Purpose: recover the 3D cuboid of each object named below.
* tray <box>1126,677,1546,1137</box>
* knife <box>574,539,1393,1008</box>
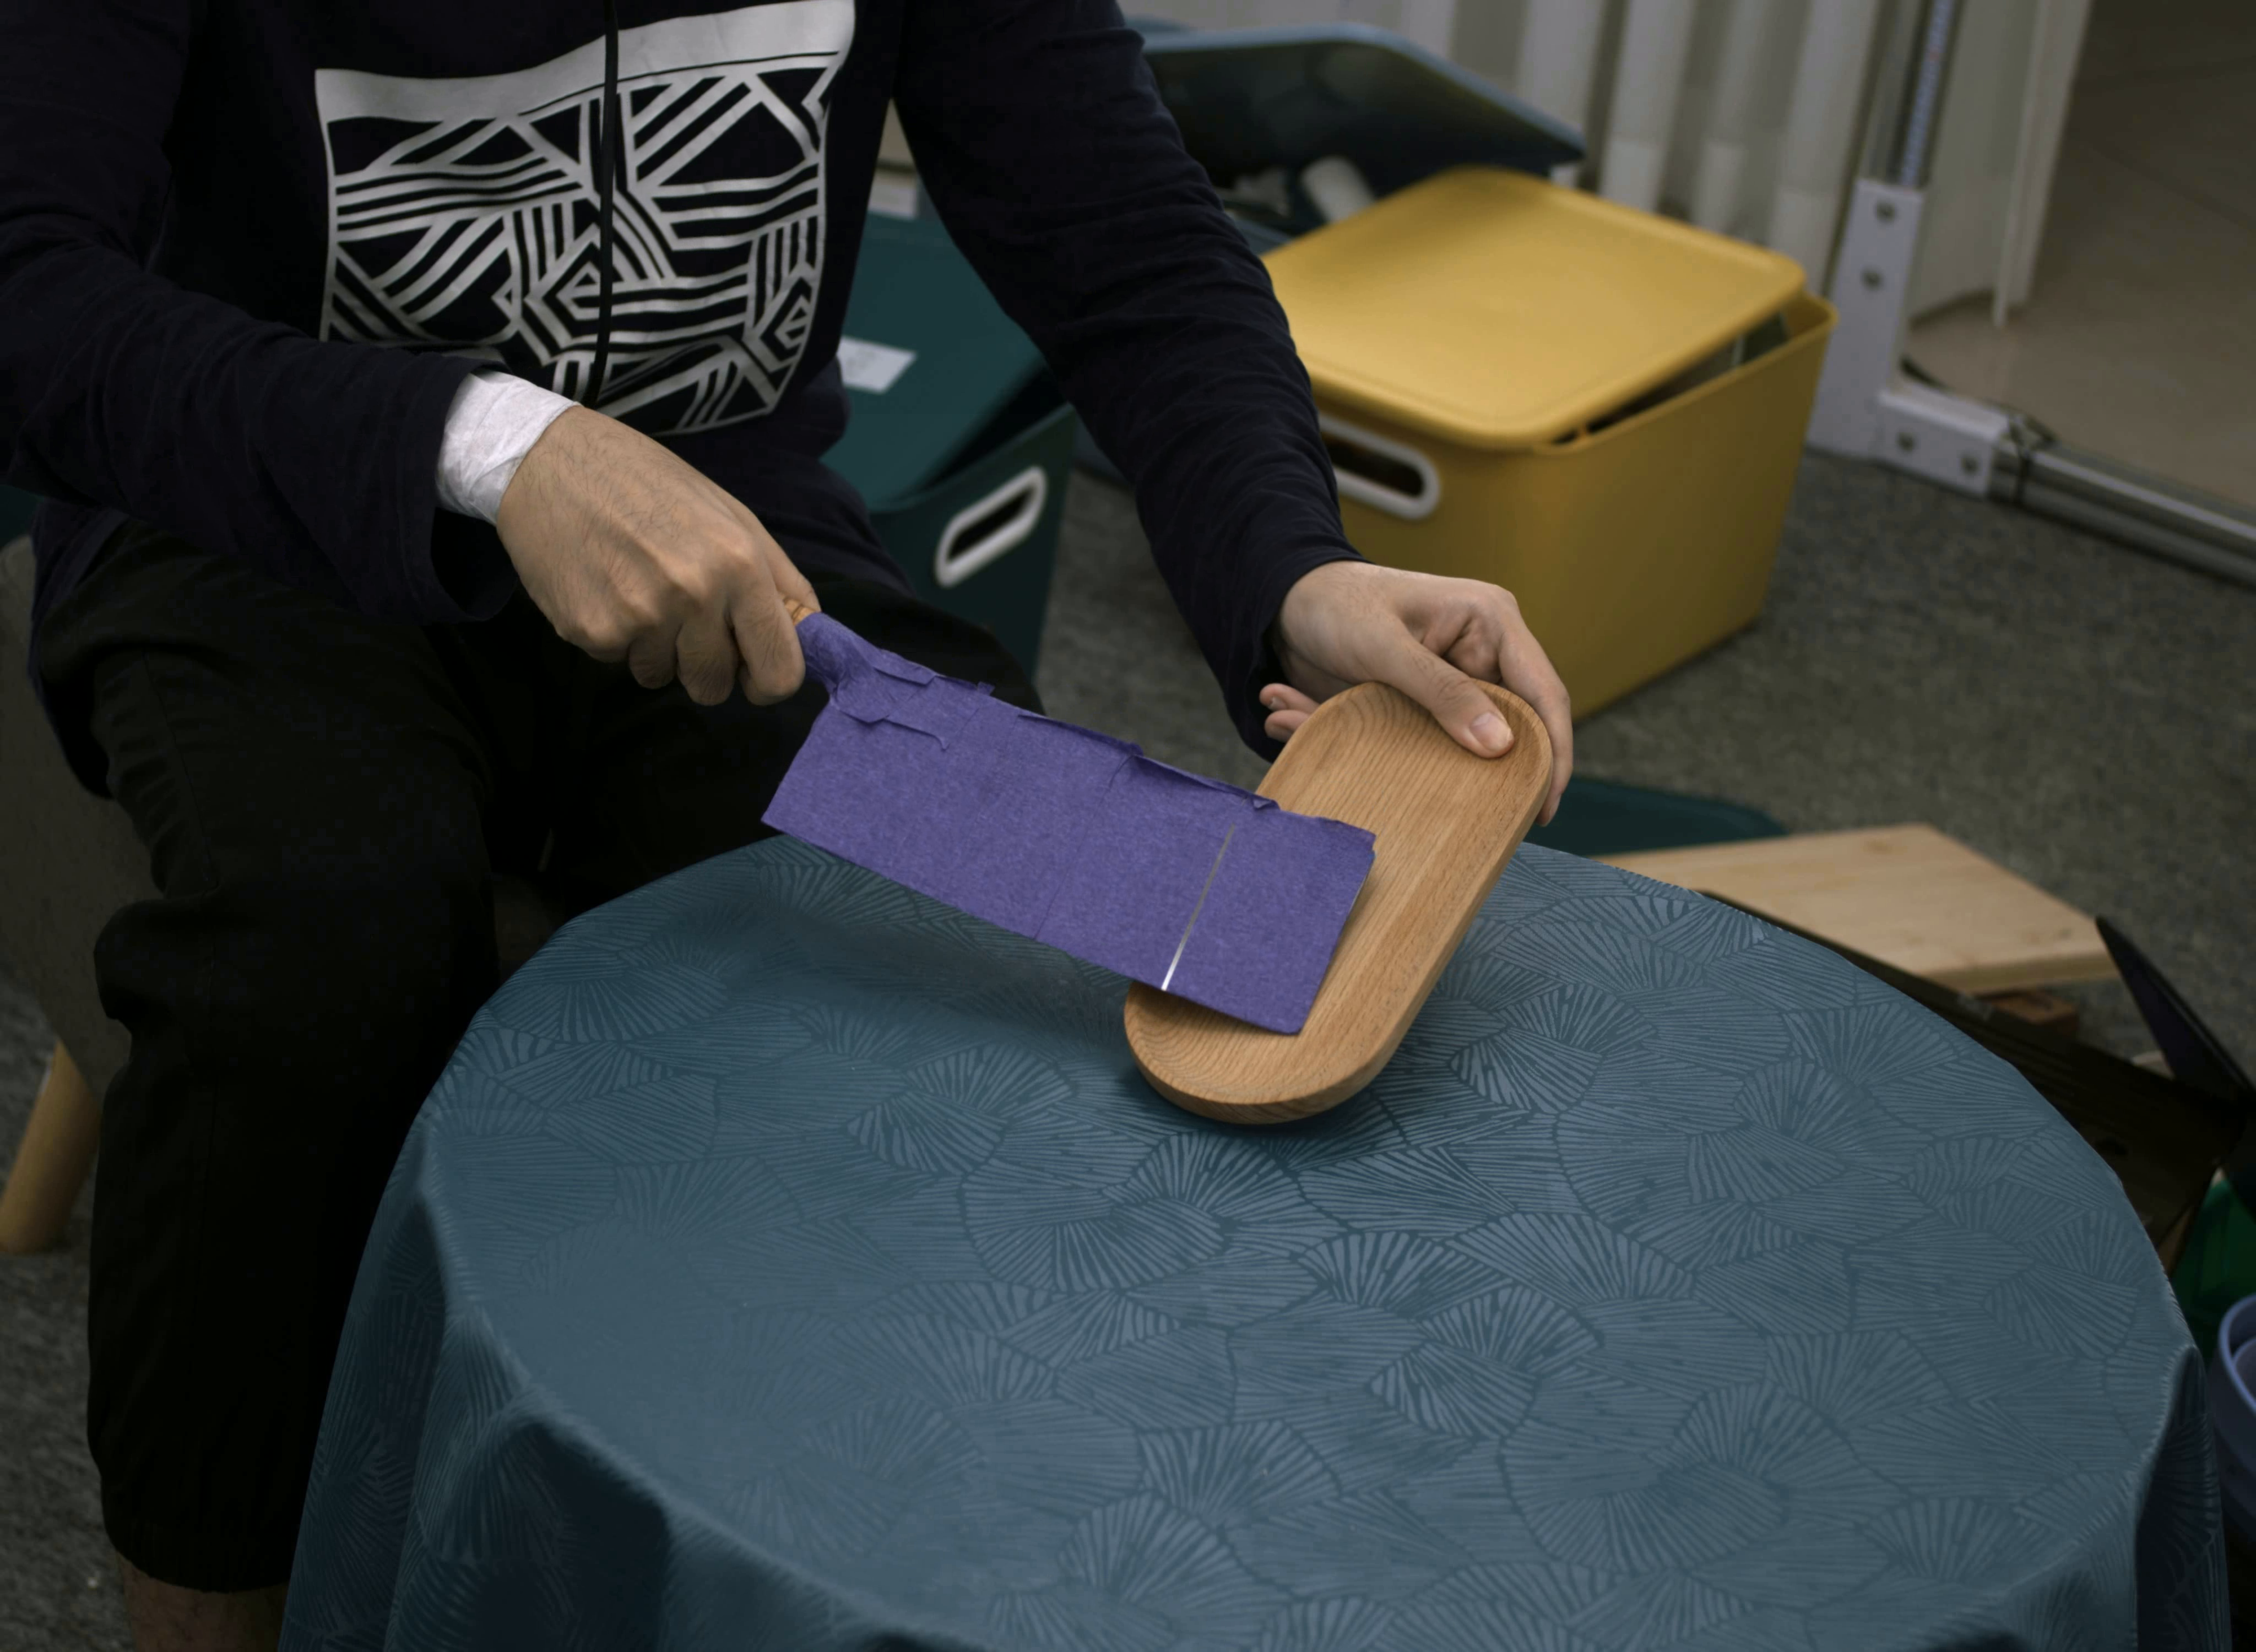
[{"bbox_3d":[0.077,0.027,1.916,0.102,0.020,0.232,10,48,25],"label":"tray"},{"bbox_3d":[-0.065,-0.019,1.915,0.315,0.032,0.104,20,54,10],"label":"knife"}]
